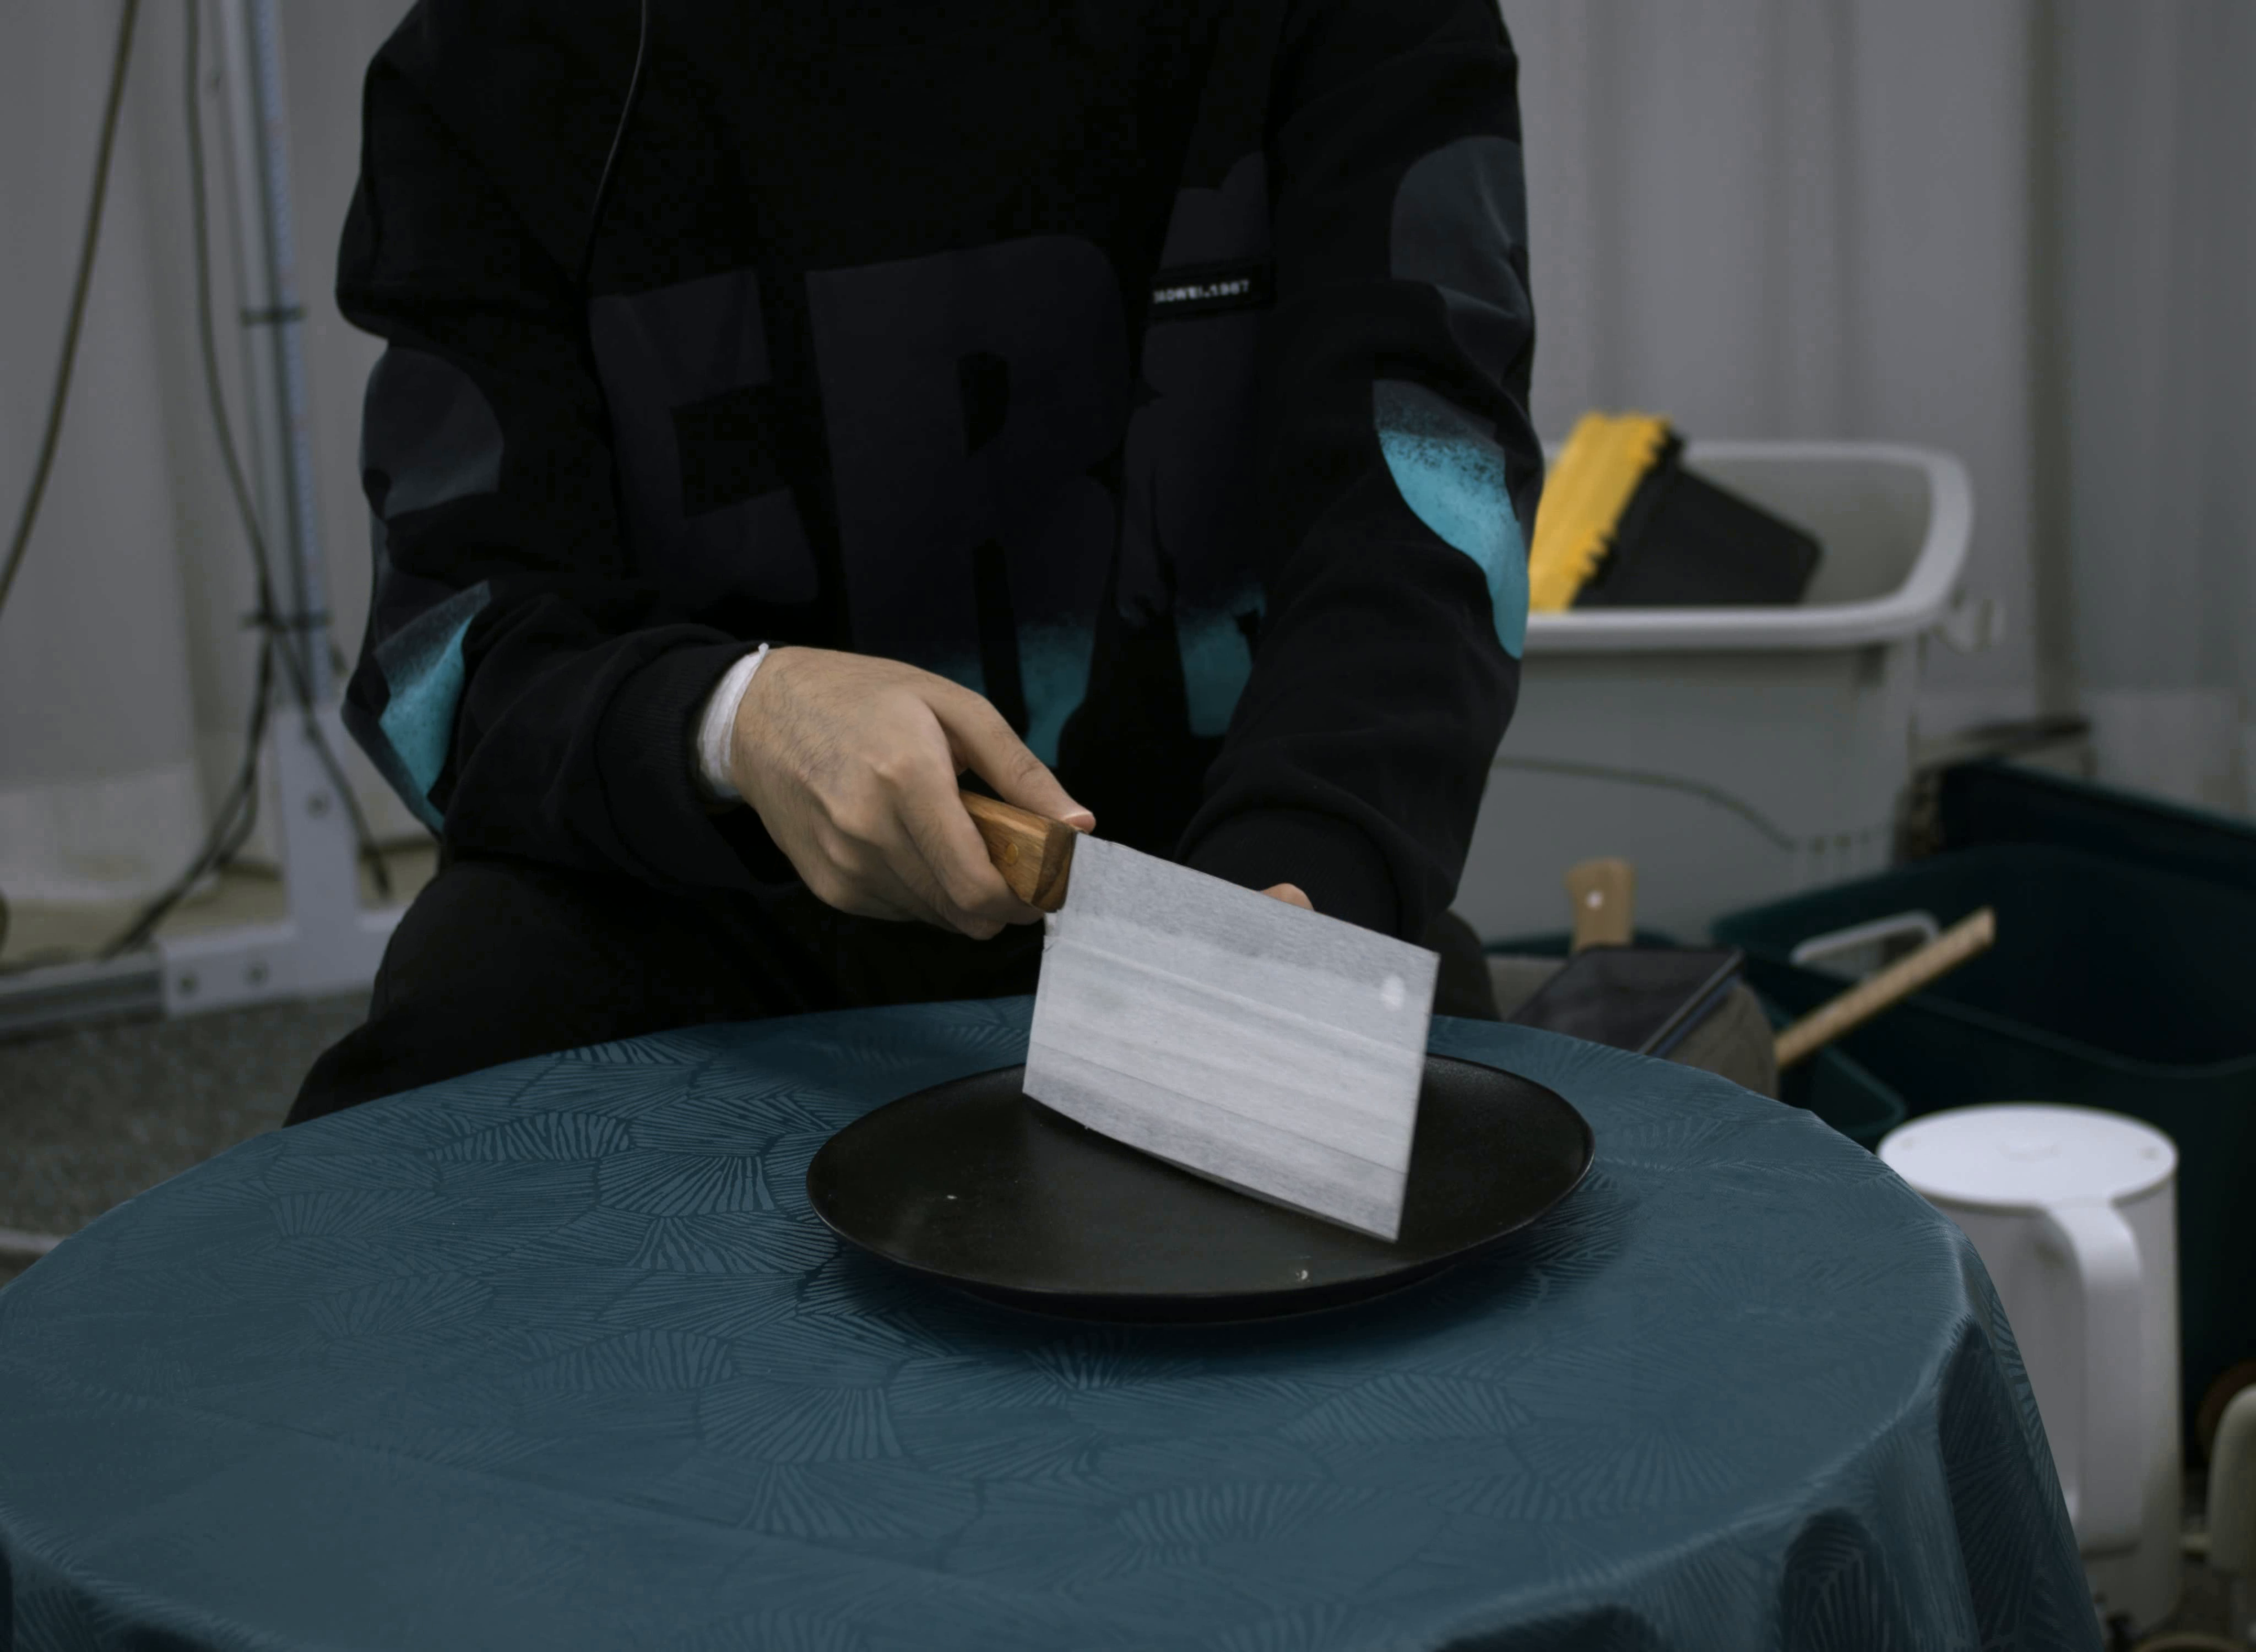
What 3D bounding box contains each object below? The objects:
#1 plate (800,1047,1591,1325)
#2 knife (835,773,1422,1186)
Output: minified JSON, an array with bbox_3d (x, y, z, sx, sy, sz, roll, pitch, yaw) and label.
[{"bbox_3d":[0.021,0.111,1.677,0.243,0.023,0.246,-3,15,1],"label":"plate"},{"bbox_3d":[-0.006,0.048,1.730,0.021,0.093,0.308,2,10,-37],"label":"knife"}]
